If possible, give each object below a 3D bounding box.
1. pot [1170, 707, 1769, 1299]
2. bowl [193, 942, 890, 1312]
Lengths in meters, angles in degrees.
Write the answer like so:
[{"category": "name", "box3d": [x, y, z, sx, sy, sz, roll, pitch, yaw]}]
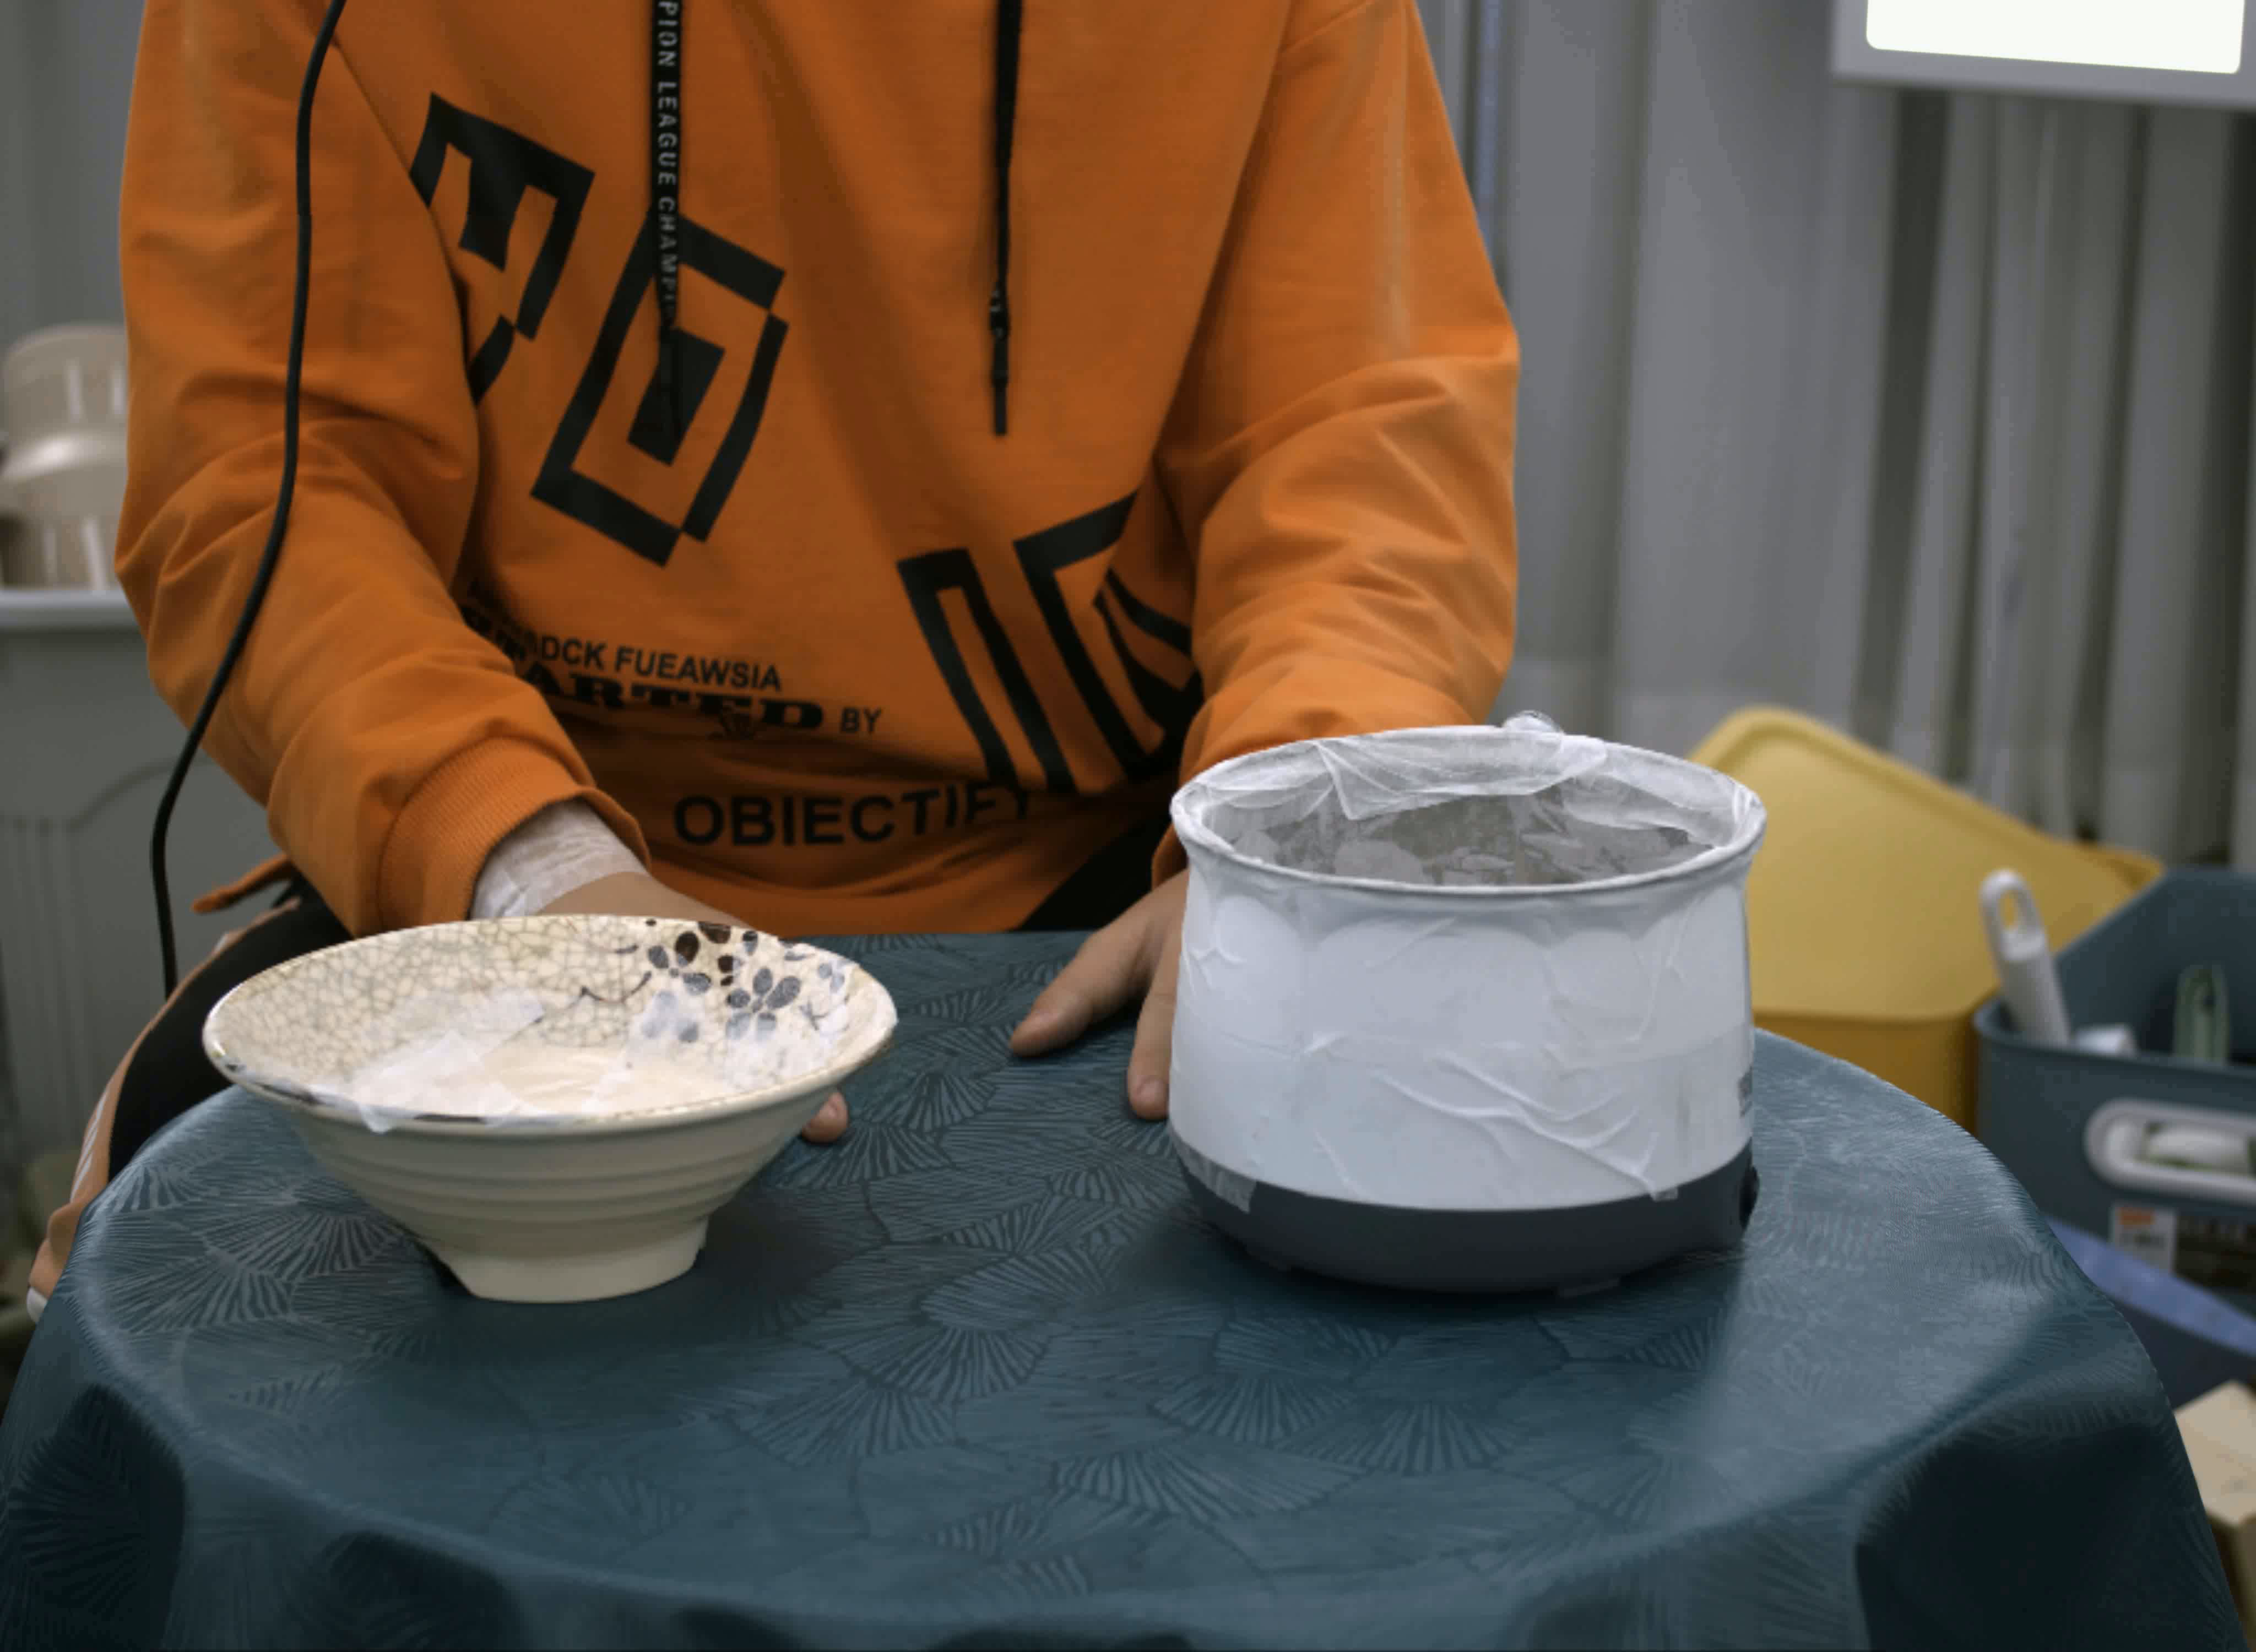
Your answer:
[{"category": "pot", "box3d": [0.107, 0.047, 1.602, 0.177, 0.138, 0.233, 4, 16, 12]}, {"category": "bowl", "box3d": [-0.171, 0.094, 1.551, 0.203, 0.078, 0.203, 0, 12, 1]}]
